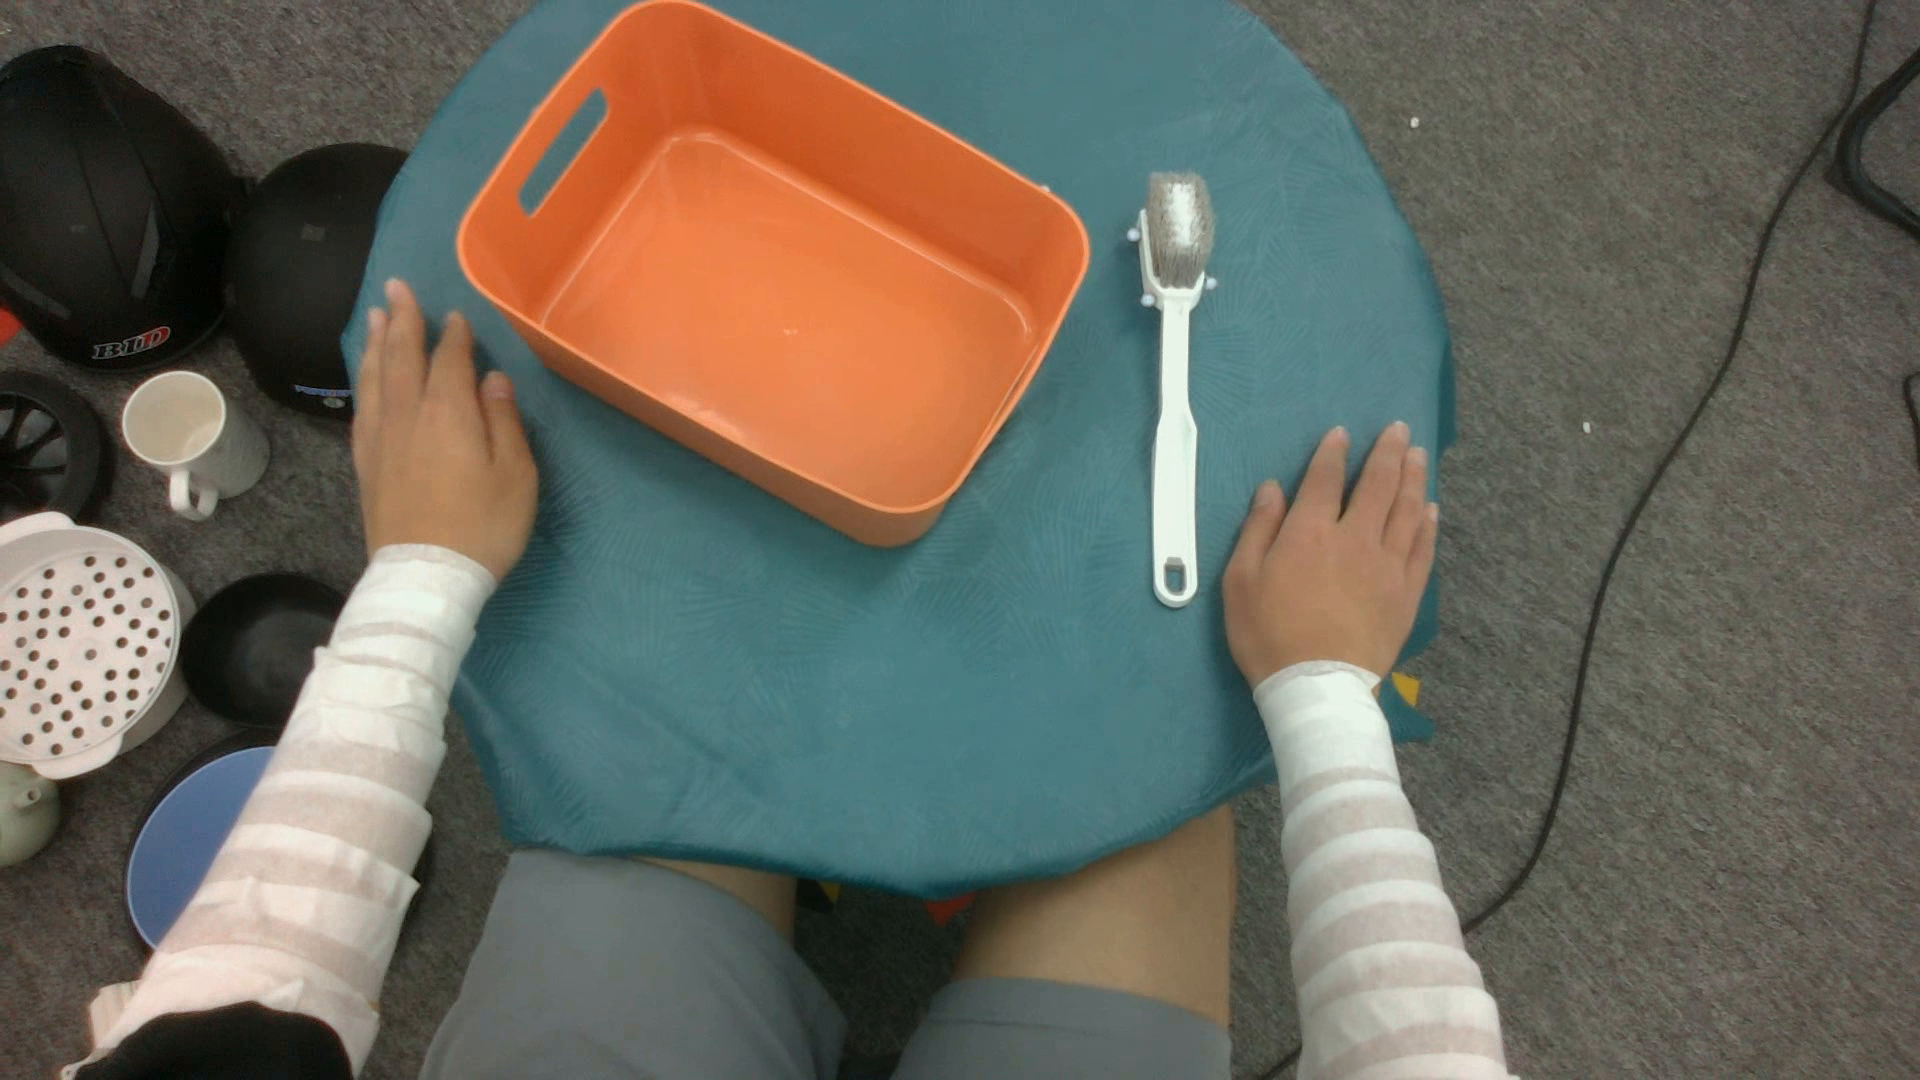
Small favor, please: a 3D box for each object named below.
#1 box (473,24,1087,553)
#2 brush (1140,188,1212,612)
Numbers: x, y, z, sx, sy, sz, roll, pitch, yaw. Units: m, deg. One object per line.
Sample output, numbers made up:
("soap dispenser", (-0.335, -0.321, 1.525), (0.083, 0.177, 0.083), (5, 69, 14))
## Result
("box", (-0.090, -0.123, 0.722), (0.273, 0.102, 0.200), (28, 72, 5))
("brush", (0.120, -0.083, 0.756), (0.034, 0.050, 0.244), (3, 72, -3))
